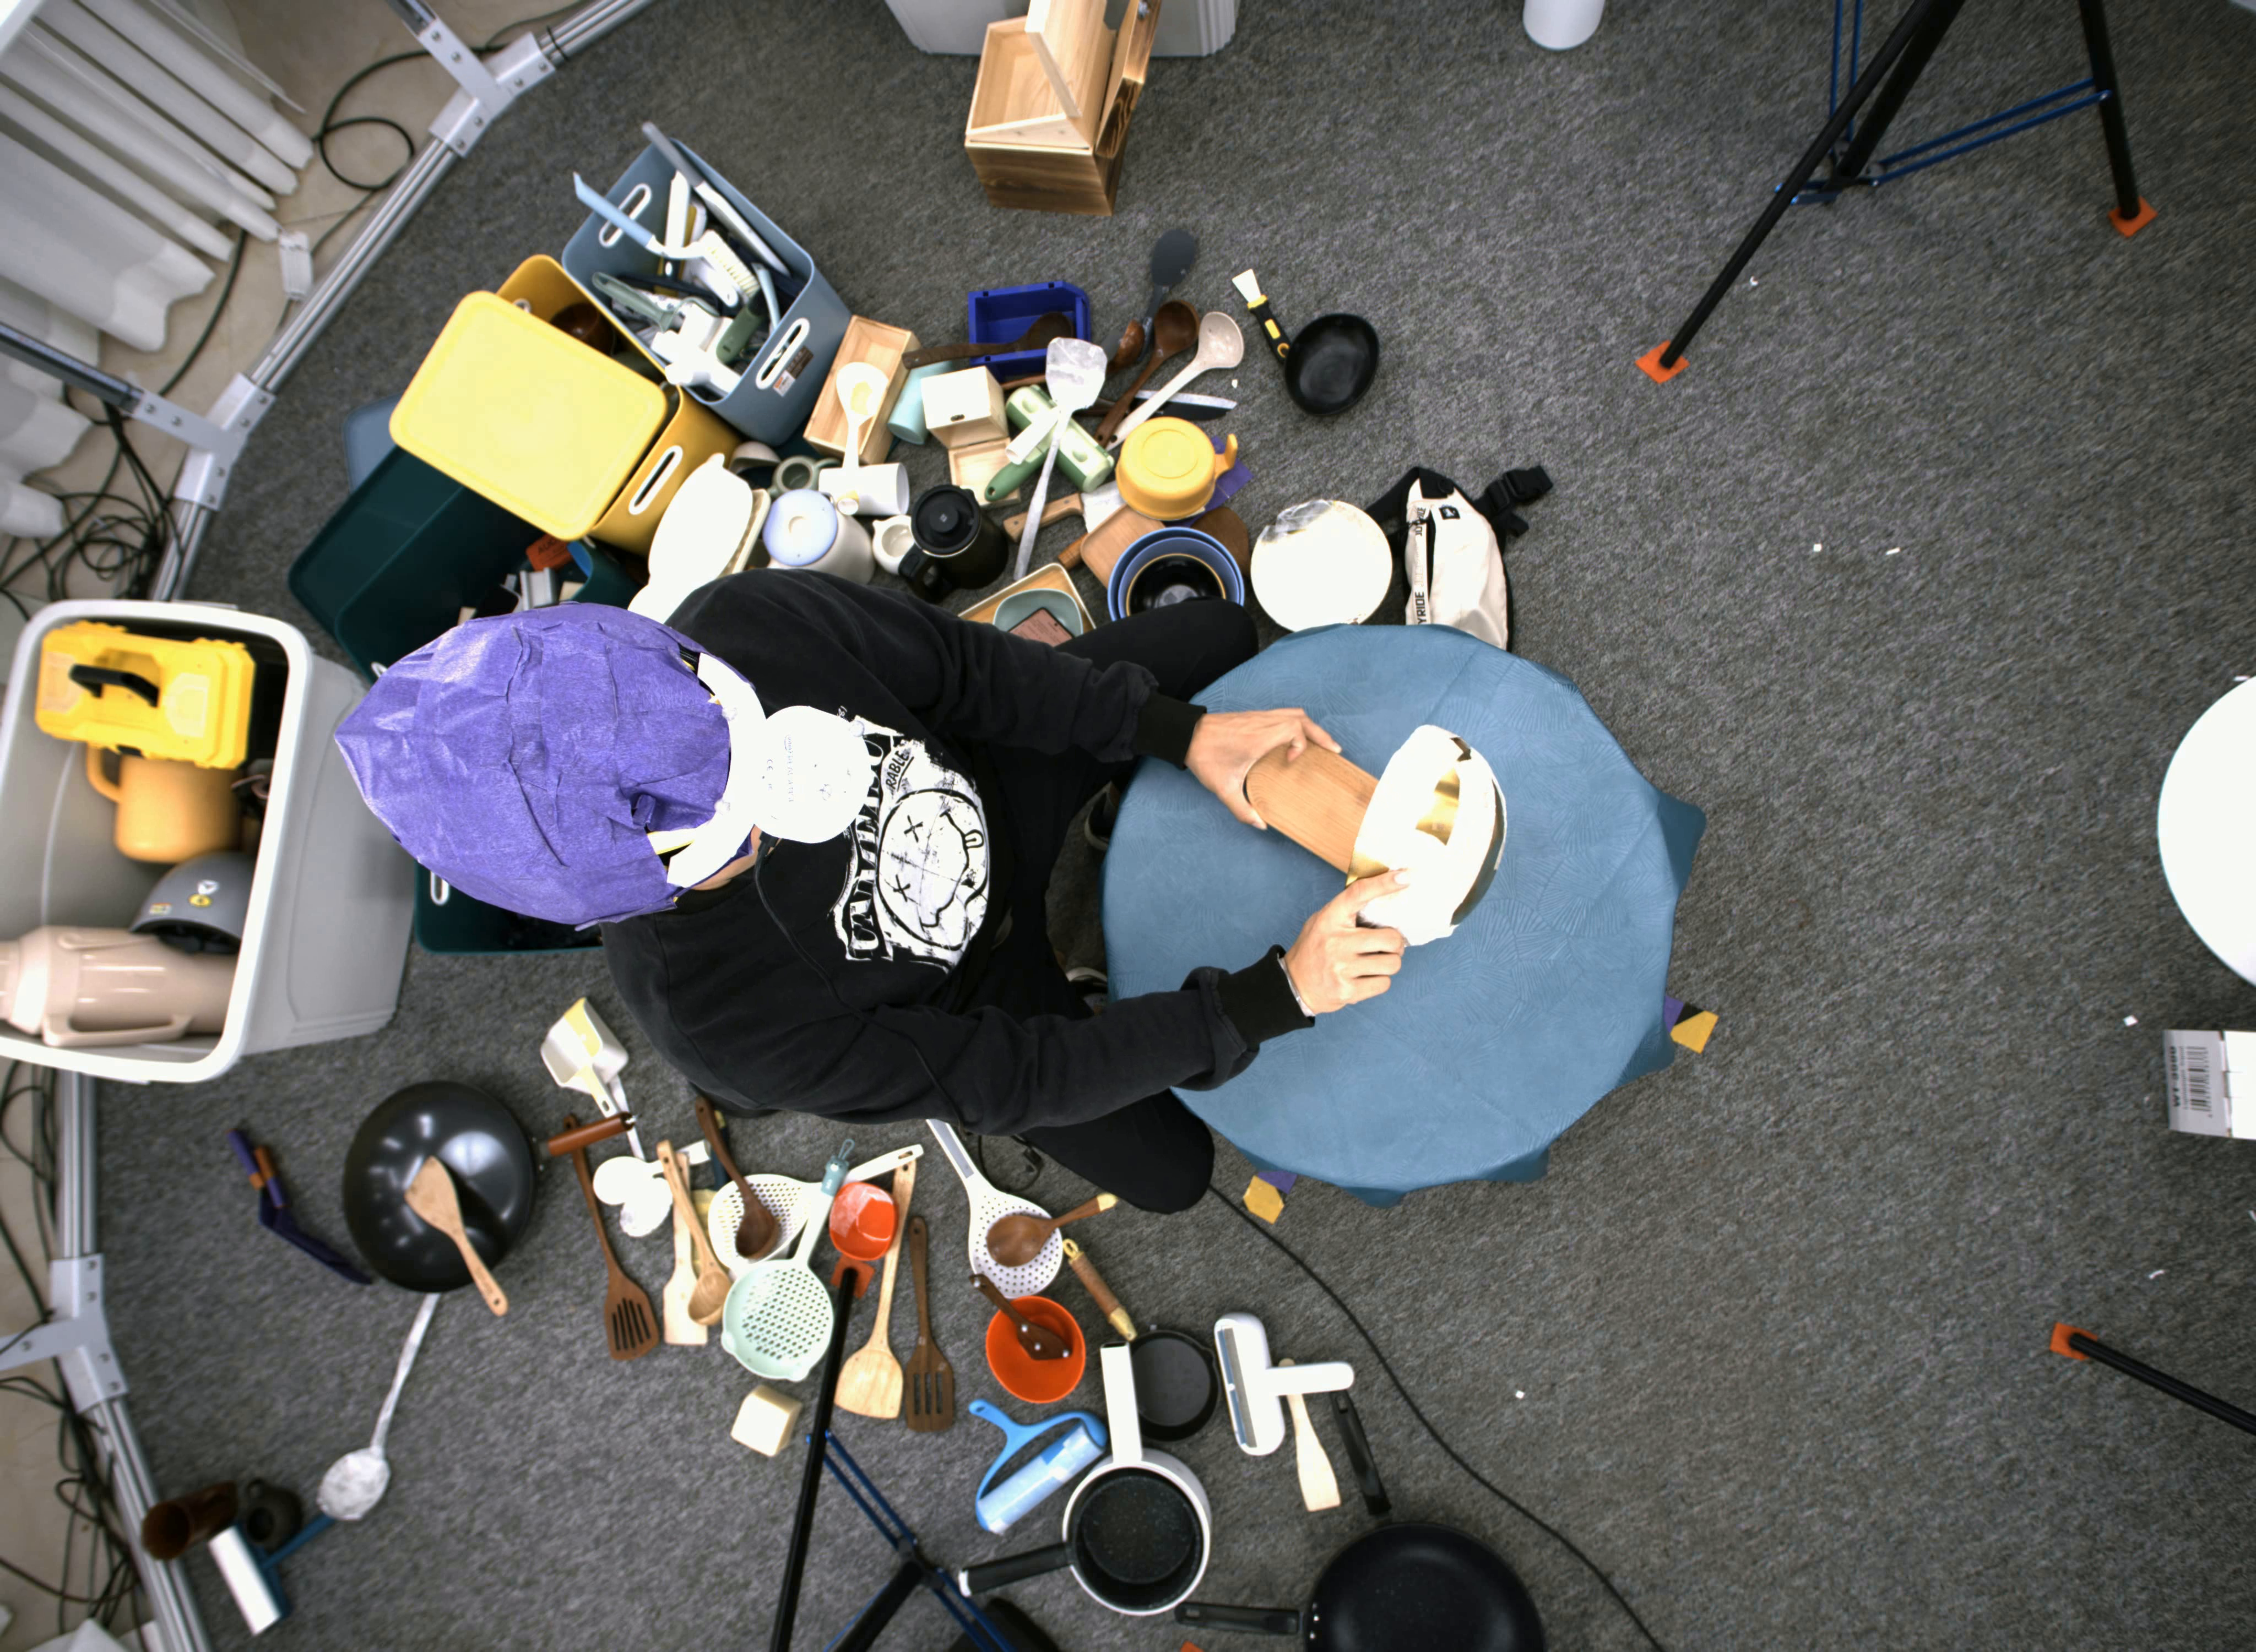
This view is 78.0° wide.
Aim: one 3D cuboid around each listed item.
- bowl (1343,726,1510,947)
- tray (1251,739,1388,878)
[{"bbox_3d":[0.278,0.021,1.210,0.094,0.215,0.214,22,88,25],"label":"bowl"},{"bbox_3d":[0.234,-0.007,1.446,0.231,0.020,0.102,31,92,-4],"label":"tray"}]
